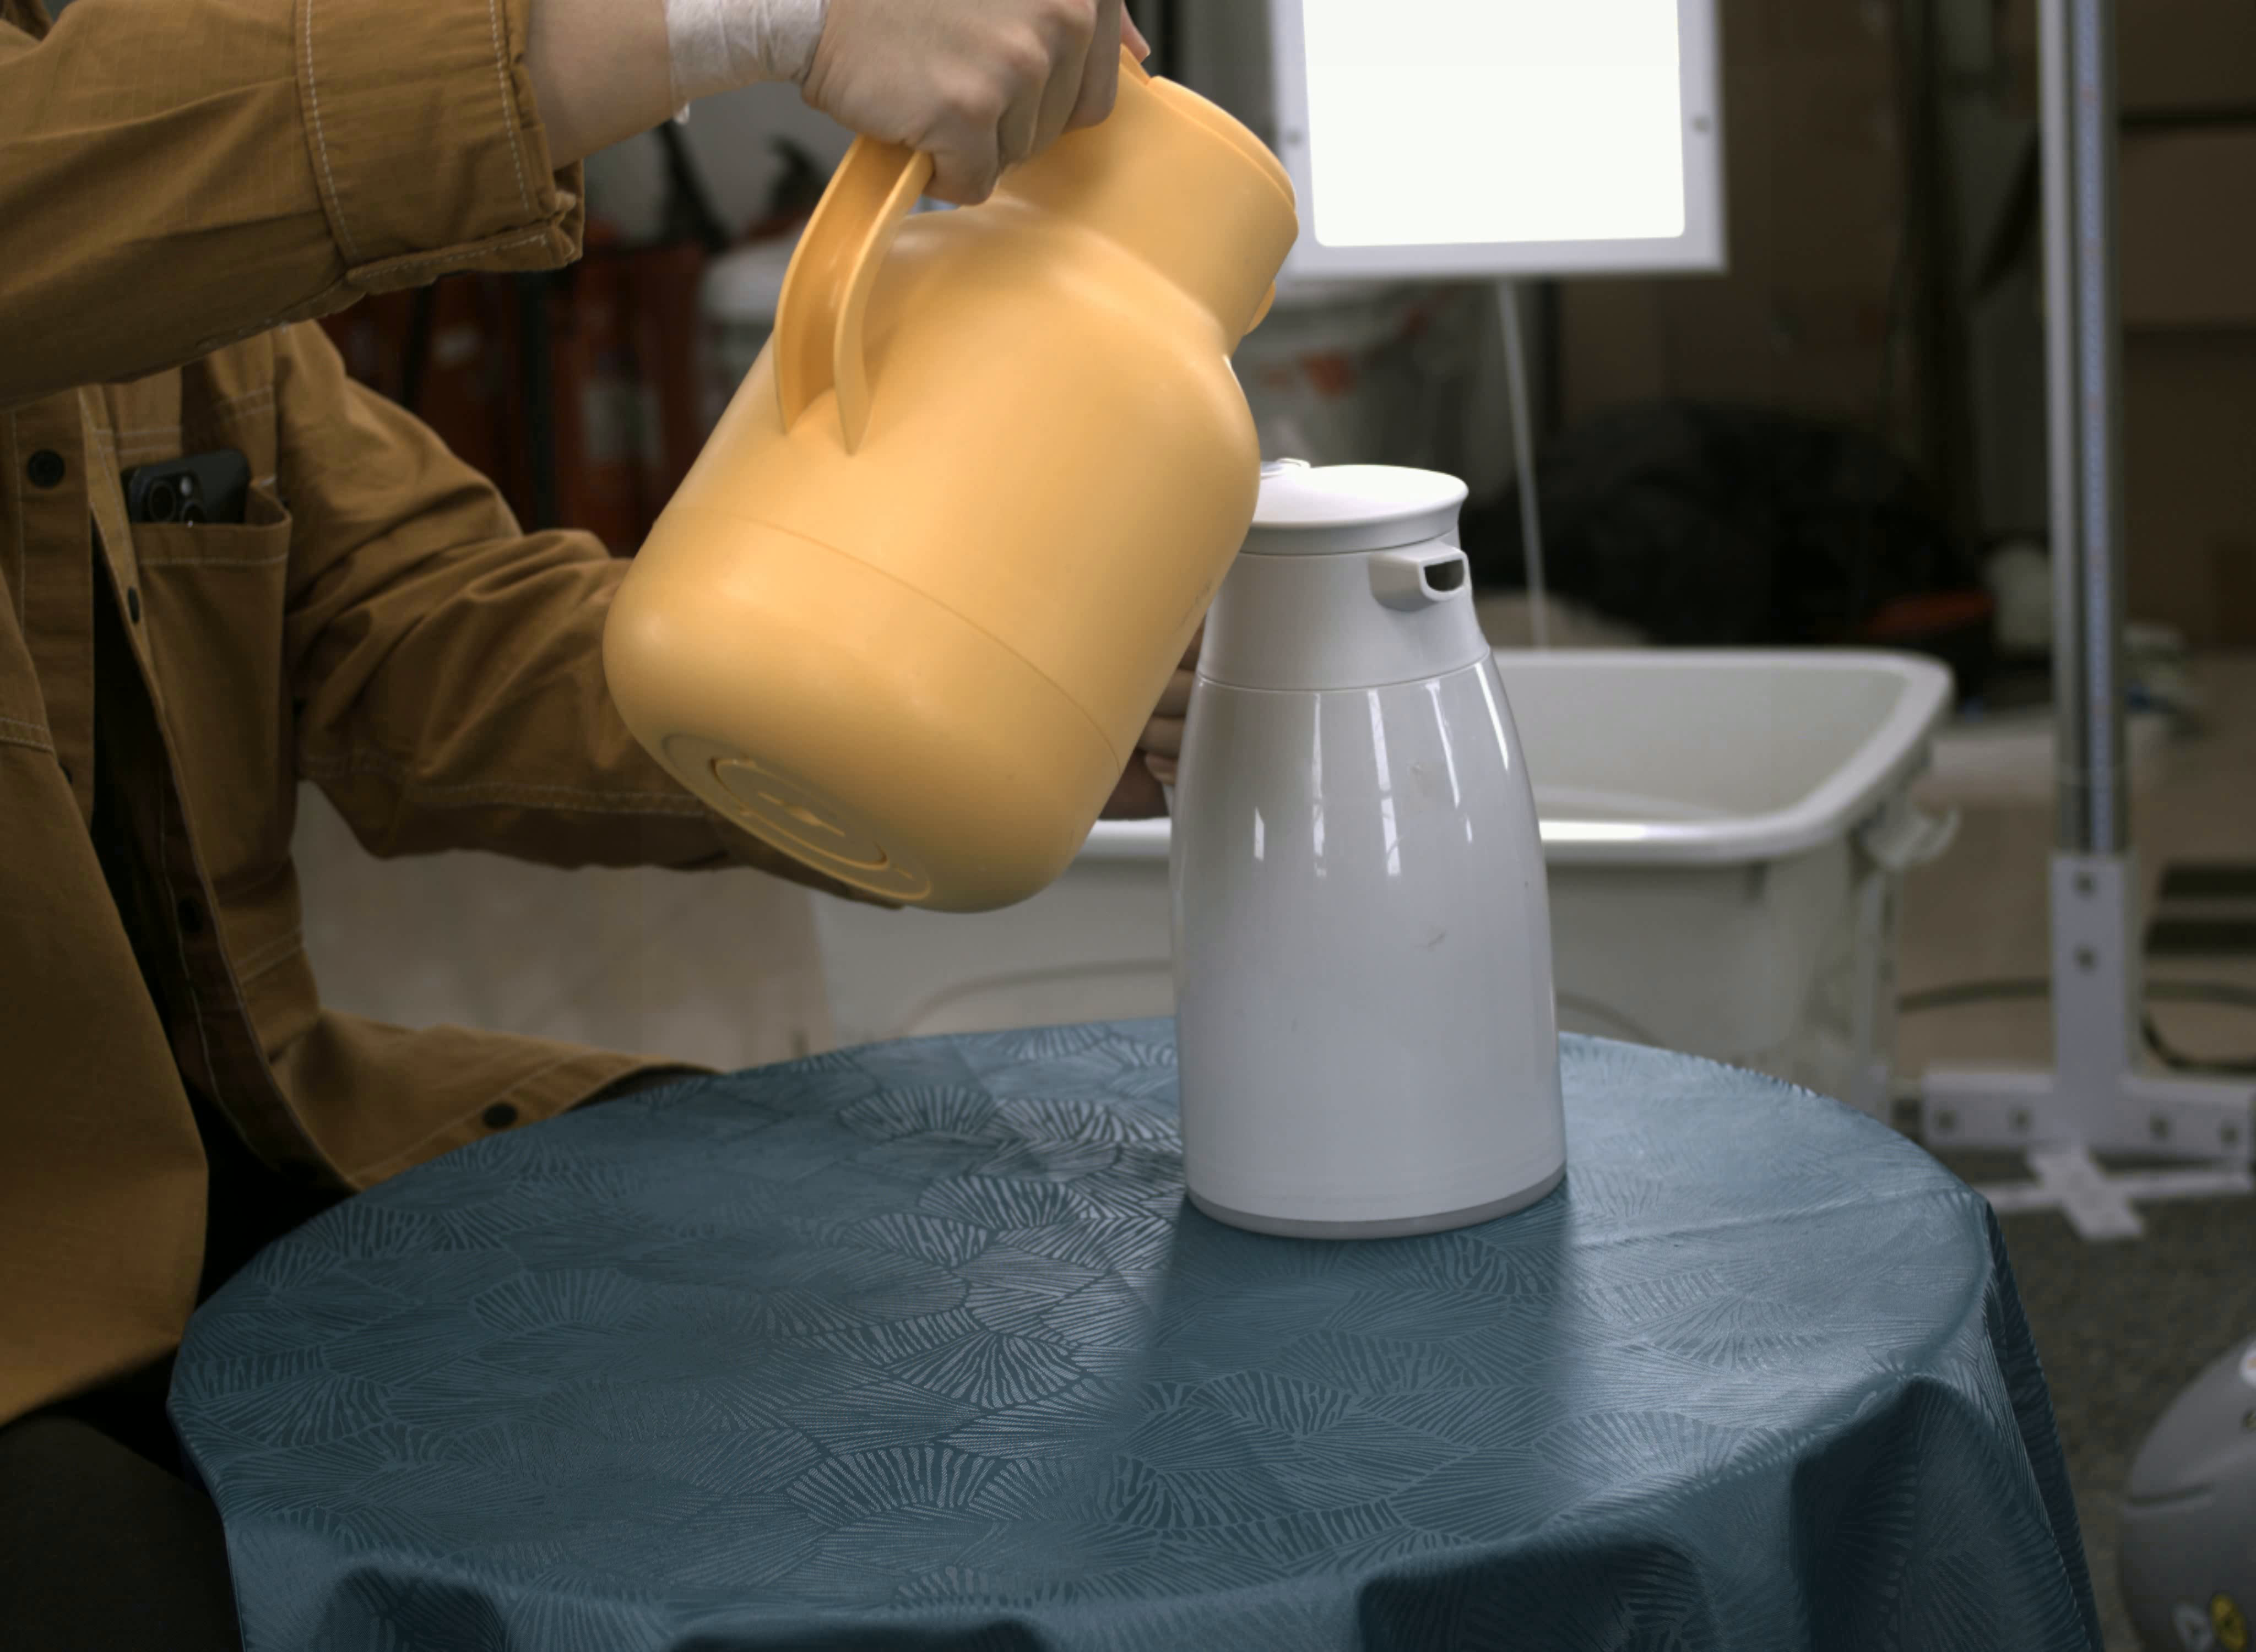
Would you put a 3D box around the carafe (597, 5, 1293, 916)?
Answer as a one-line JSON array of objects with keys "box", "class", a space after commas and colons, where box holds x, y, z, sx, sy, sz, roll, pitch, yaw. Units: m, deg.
[{"box": [-0.053, -0.121, 1.697, 0.166, 0.259, 0.199, 18, -18, 36], "class": "carafe"}]

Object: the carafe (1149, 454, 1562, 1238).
[{"box": [0.064, -0.001, 1.874, 0.129, 0.249, 0.171, -13, 16, -31], "class": "carafe"}]
